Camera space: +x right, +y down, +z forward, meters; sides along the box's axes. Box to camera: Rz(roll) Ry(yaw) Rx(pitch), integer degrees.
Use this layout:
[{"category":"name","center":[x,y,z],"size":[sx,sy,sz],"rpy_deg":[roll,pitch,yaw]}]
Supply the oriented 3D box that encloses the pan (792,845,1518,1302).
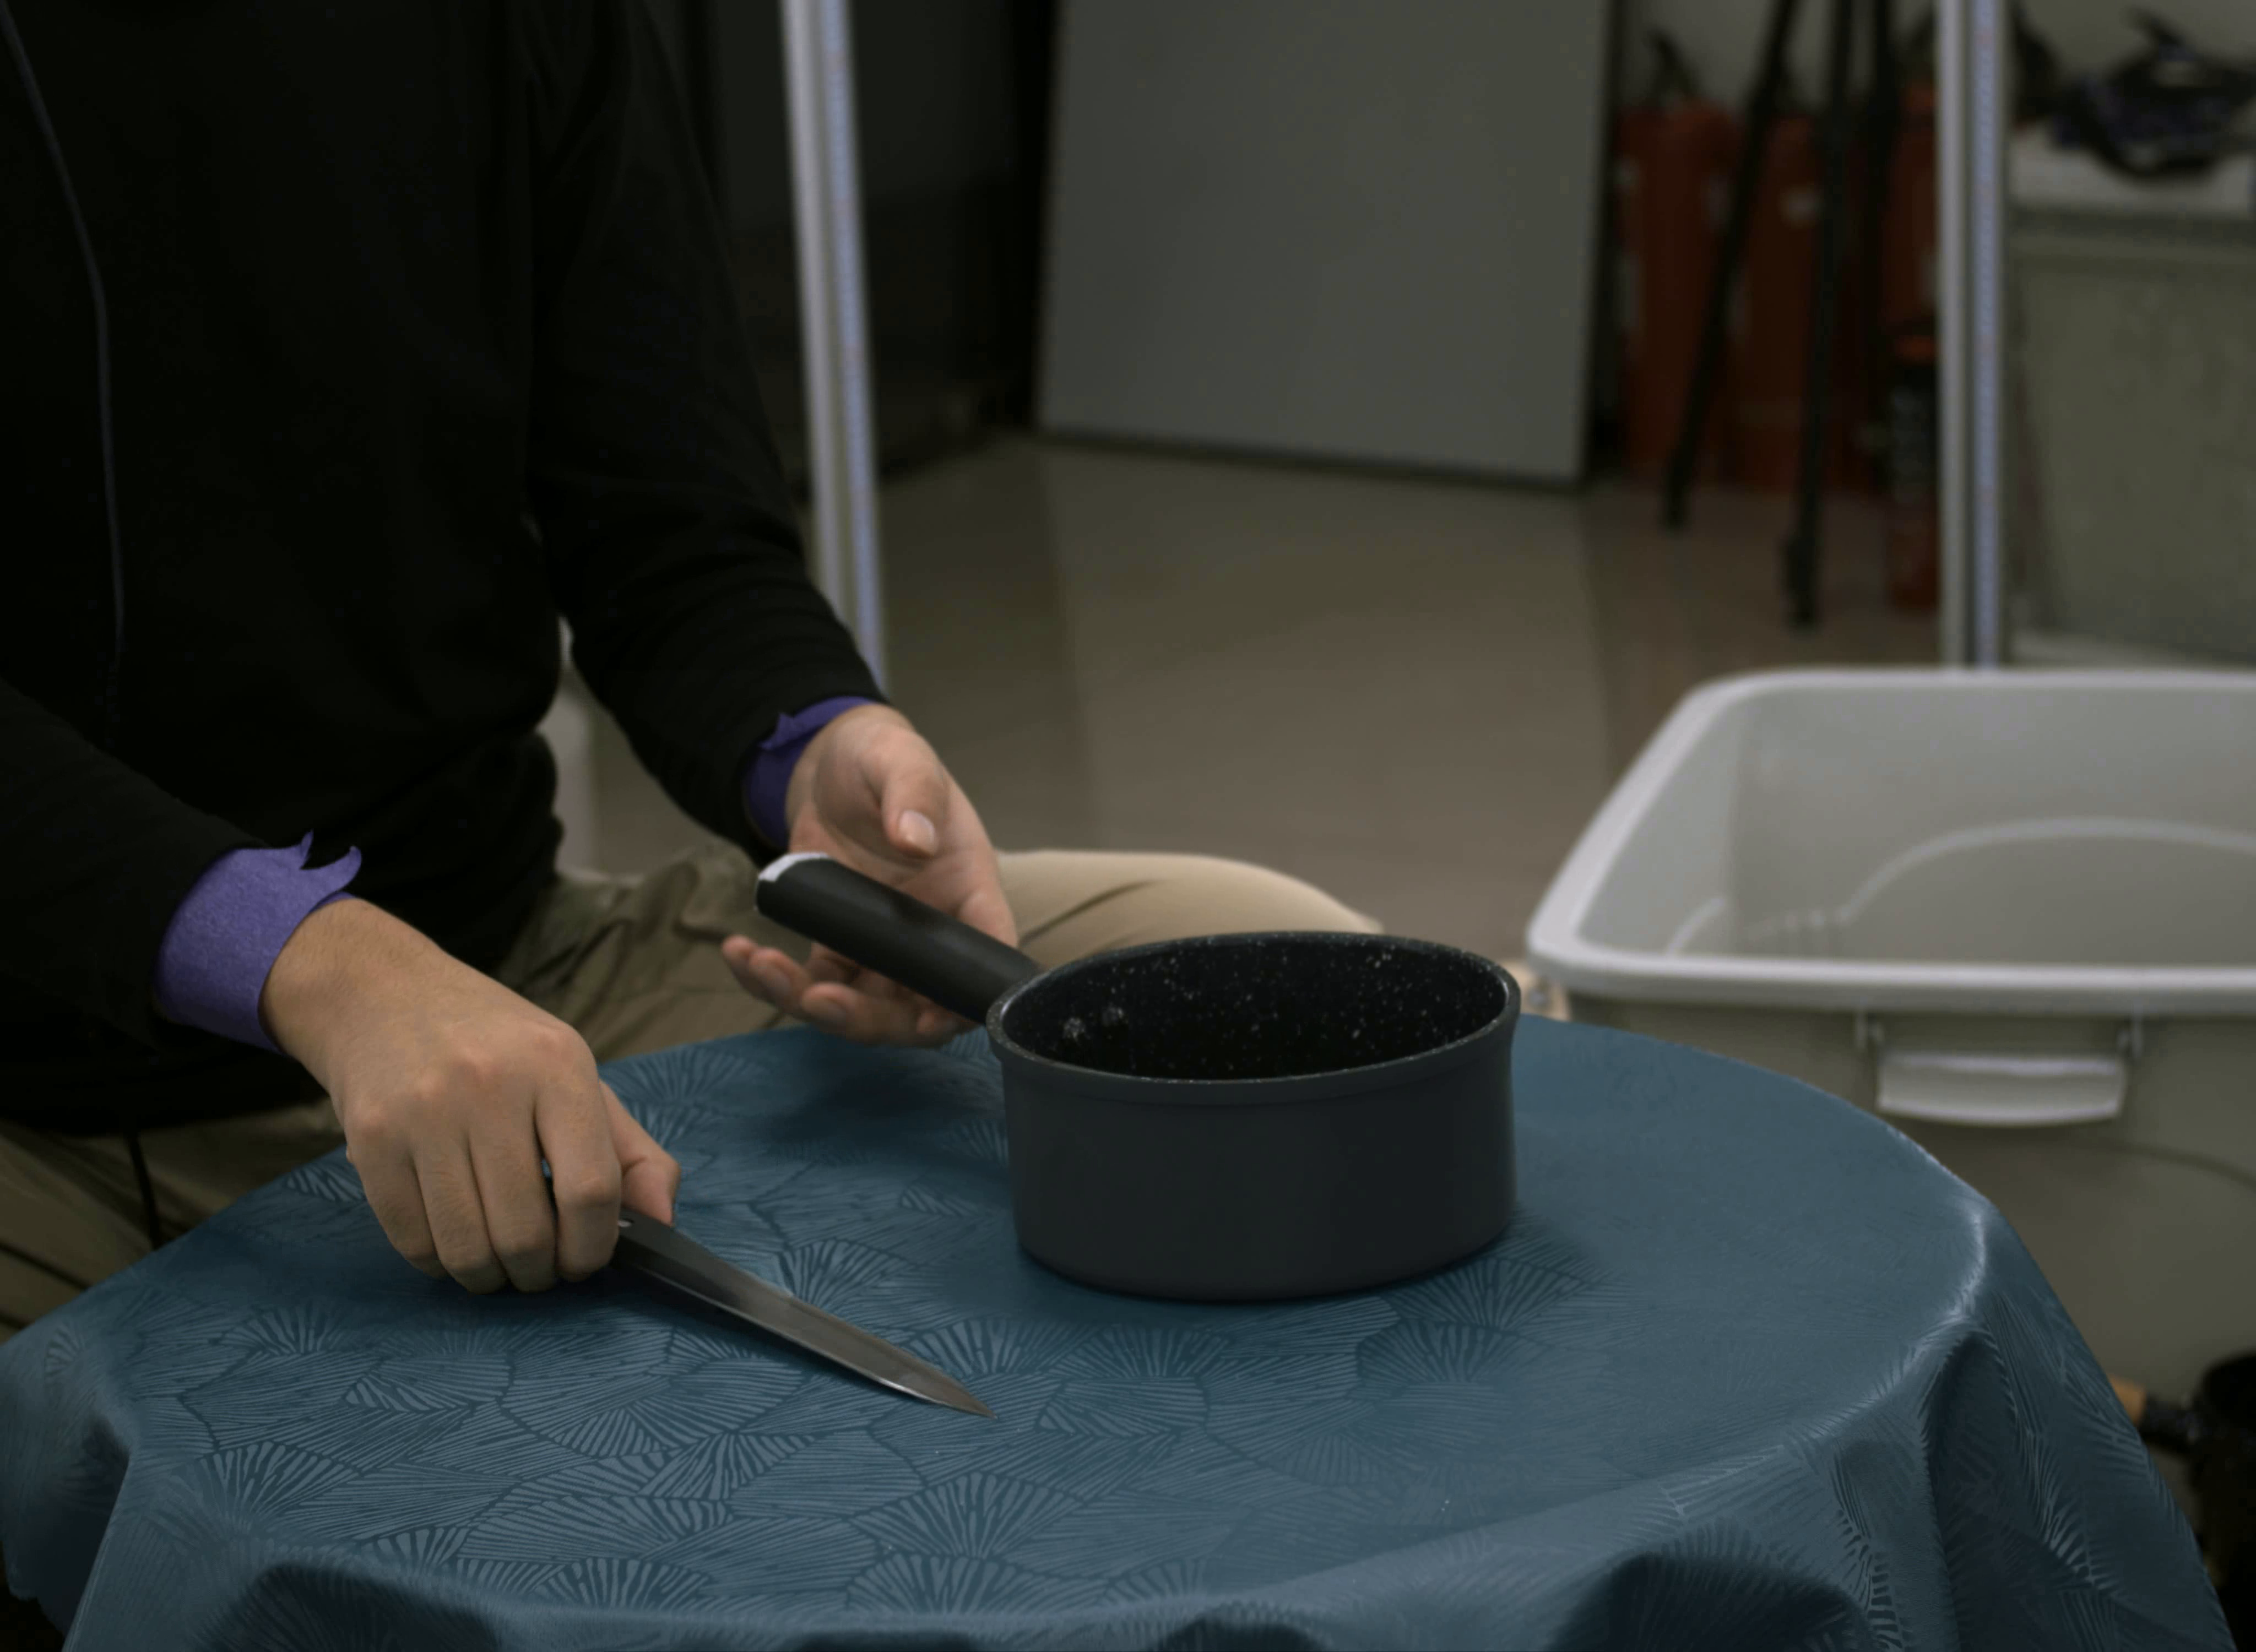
[{"category":"pan","center":[-0.007,0.076,1.782],"size":[0.168,0.087,0.332],"rpy_deg":[-14,17,-35]}]

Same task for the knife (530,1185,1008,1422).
[{"category":"knife","center":[-0.115,0.148,1.664],"size":[0.024,0.016,0.240],"rpy_deg":[-13,21,-38]}]
